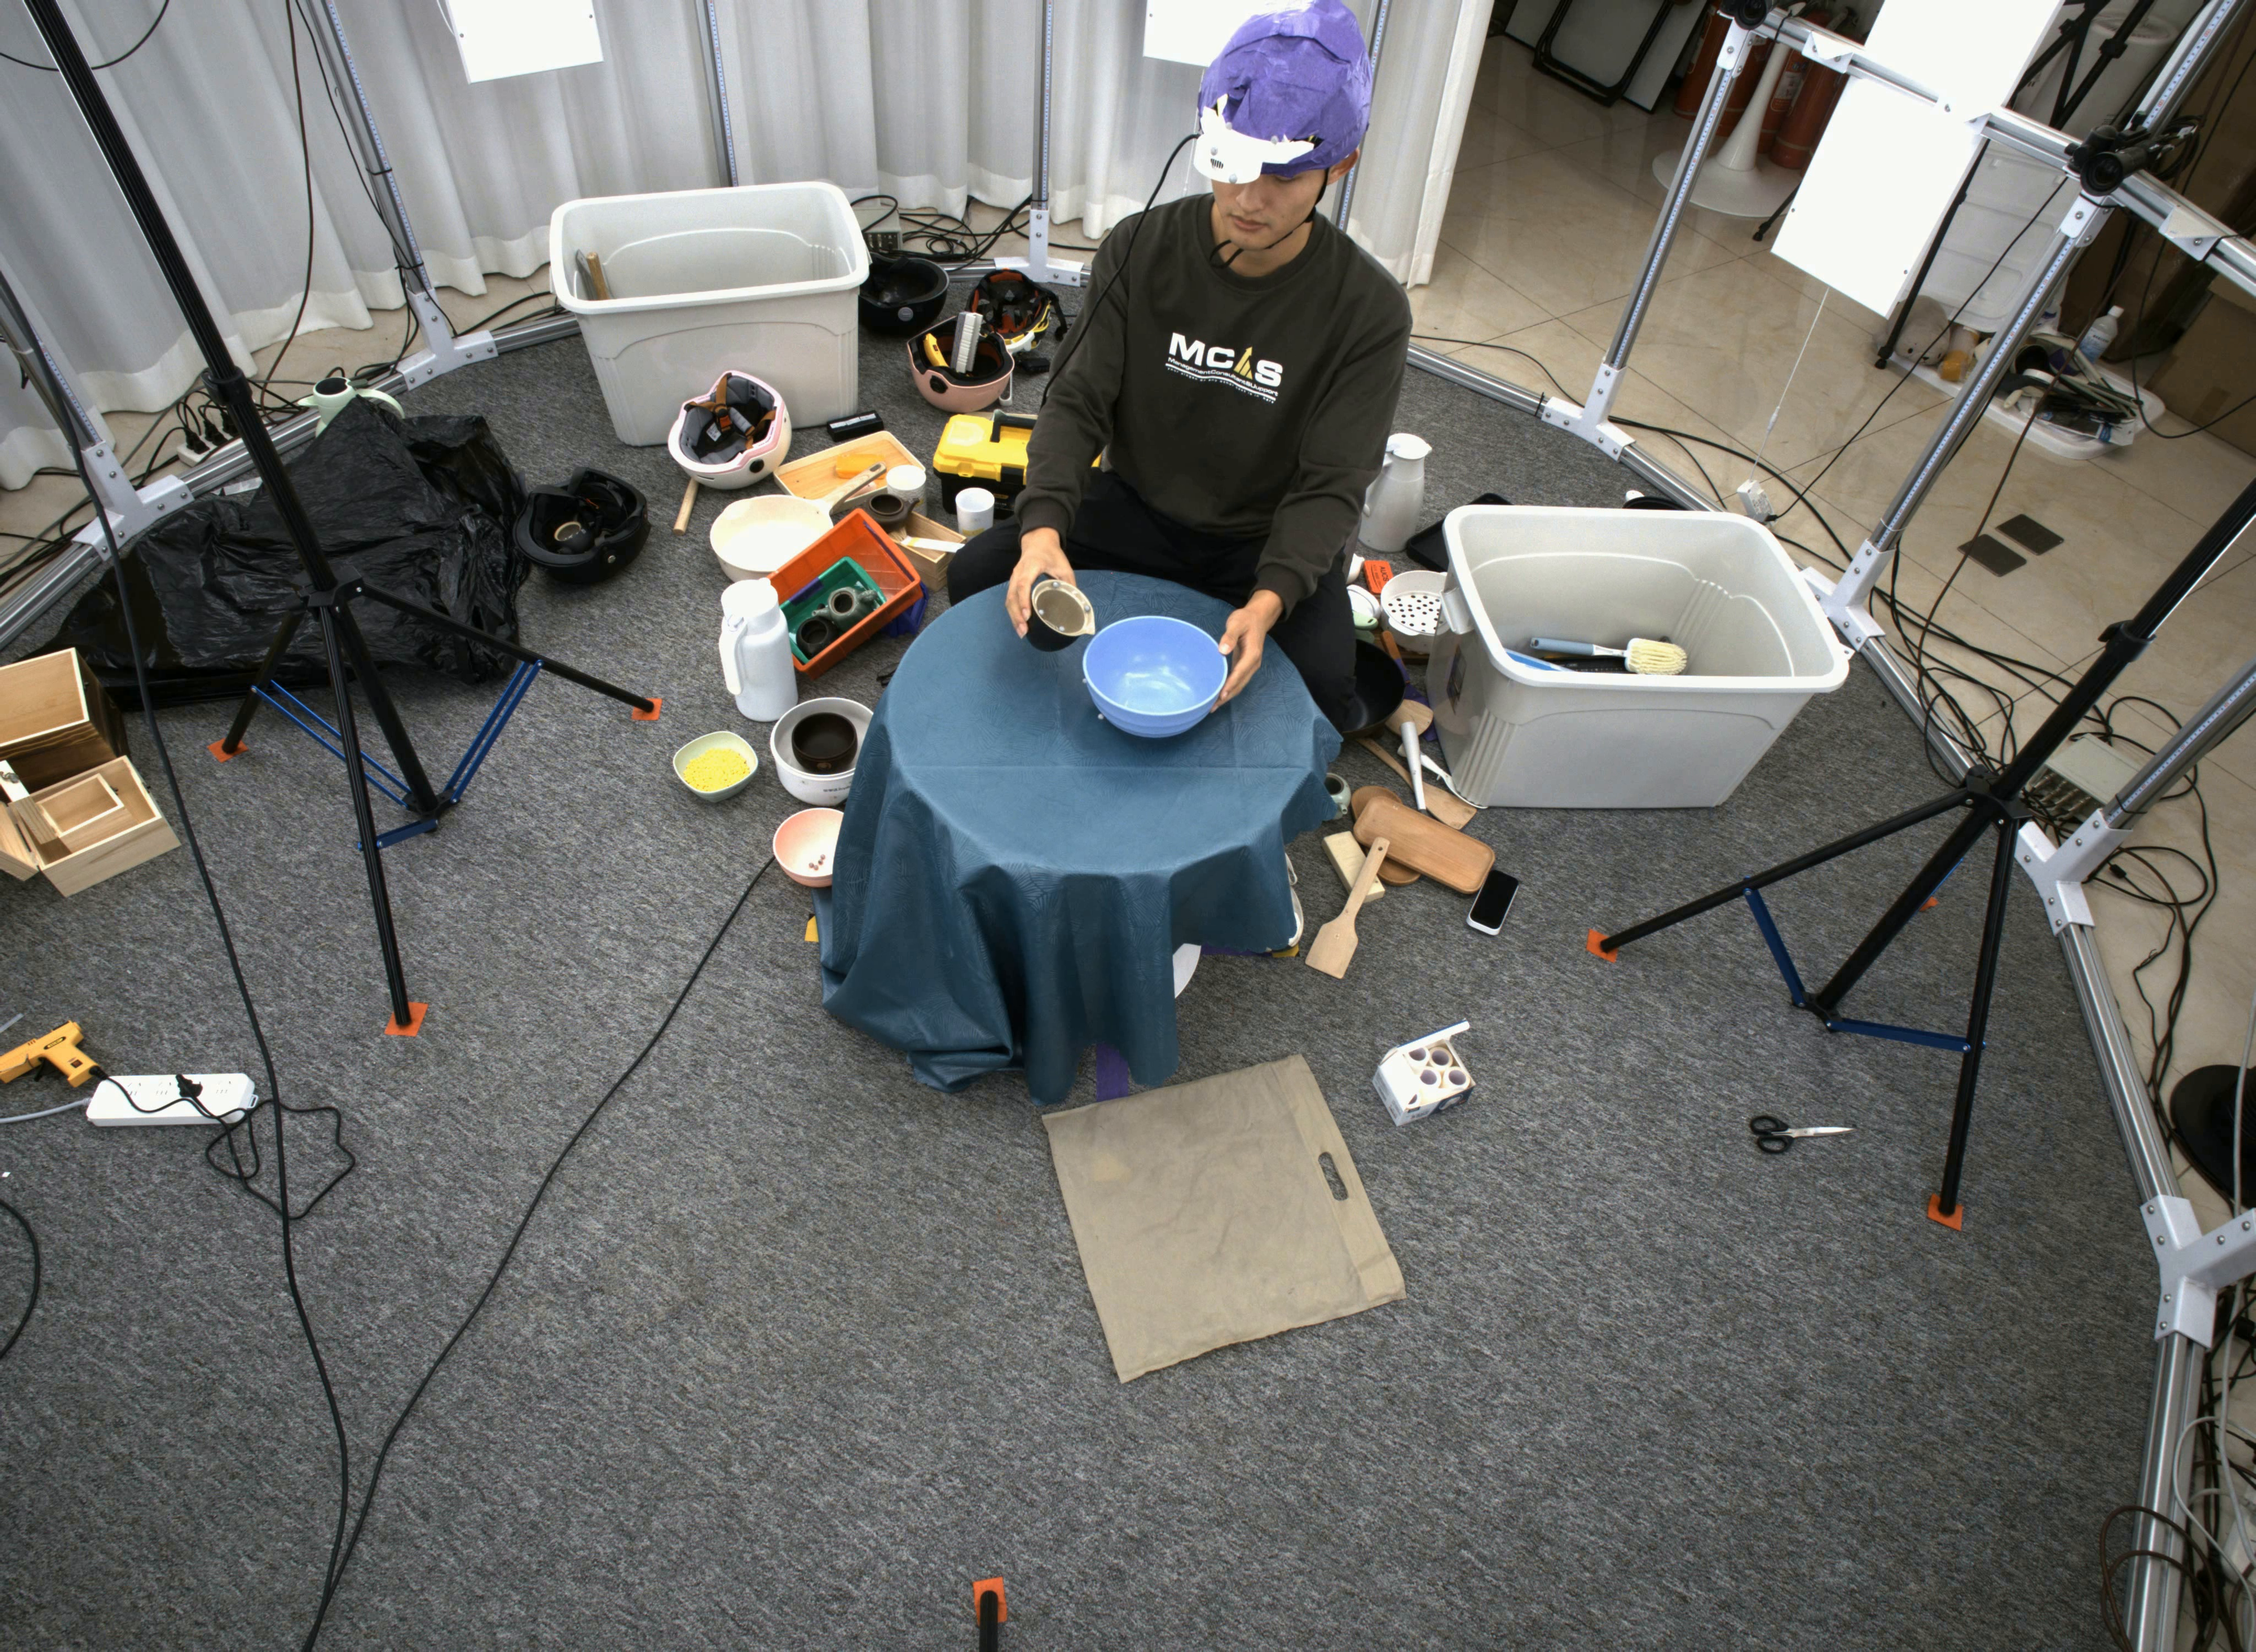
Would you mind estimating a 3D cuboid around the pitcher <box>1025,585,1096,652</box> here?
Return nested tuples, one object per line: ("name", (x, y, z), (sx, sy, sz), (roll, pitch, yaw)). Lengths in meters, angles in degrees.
("pitcher", (-0.099, -0.278, 1.769), (0.095, 0.070, 0.085), (36, 48, -6))

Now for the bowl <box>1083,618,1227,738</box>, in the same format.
("bowl", (0.034, -0.190, 1.773), (0.196, 0.093, 0.201), (2, 47, -3))
